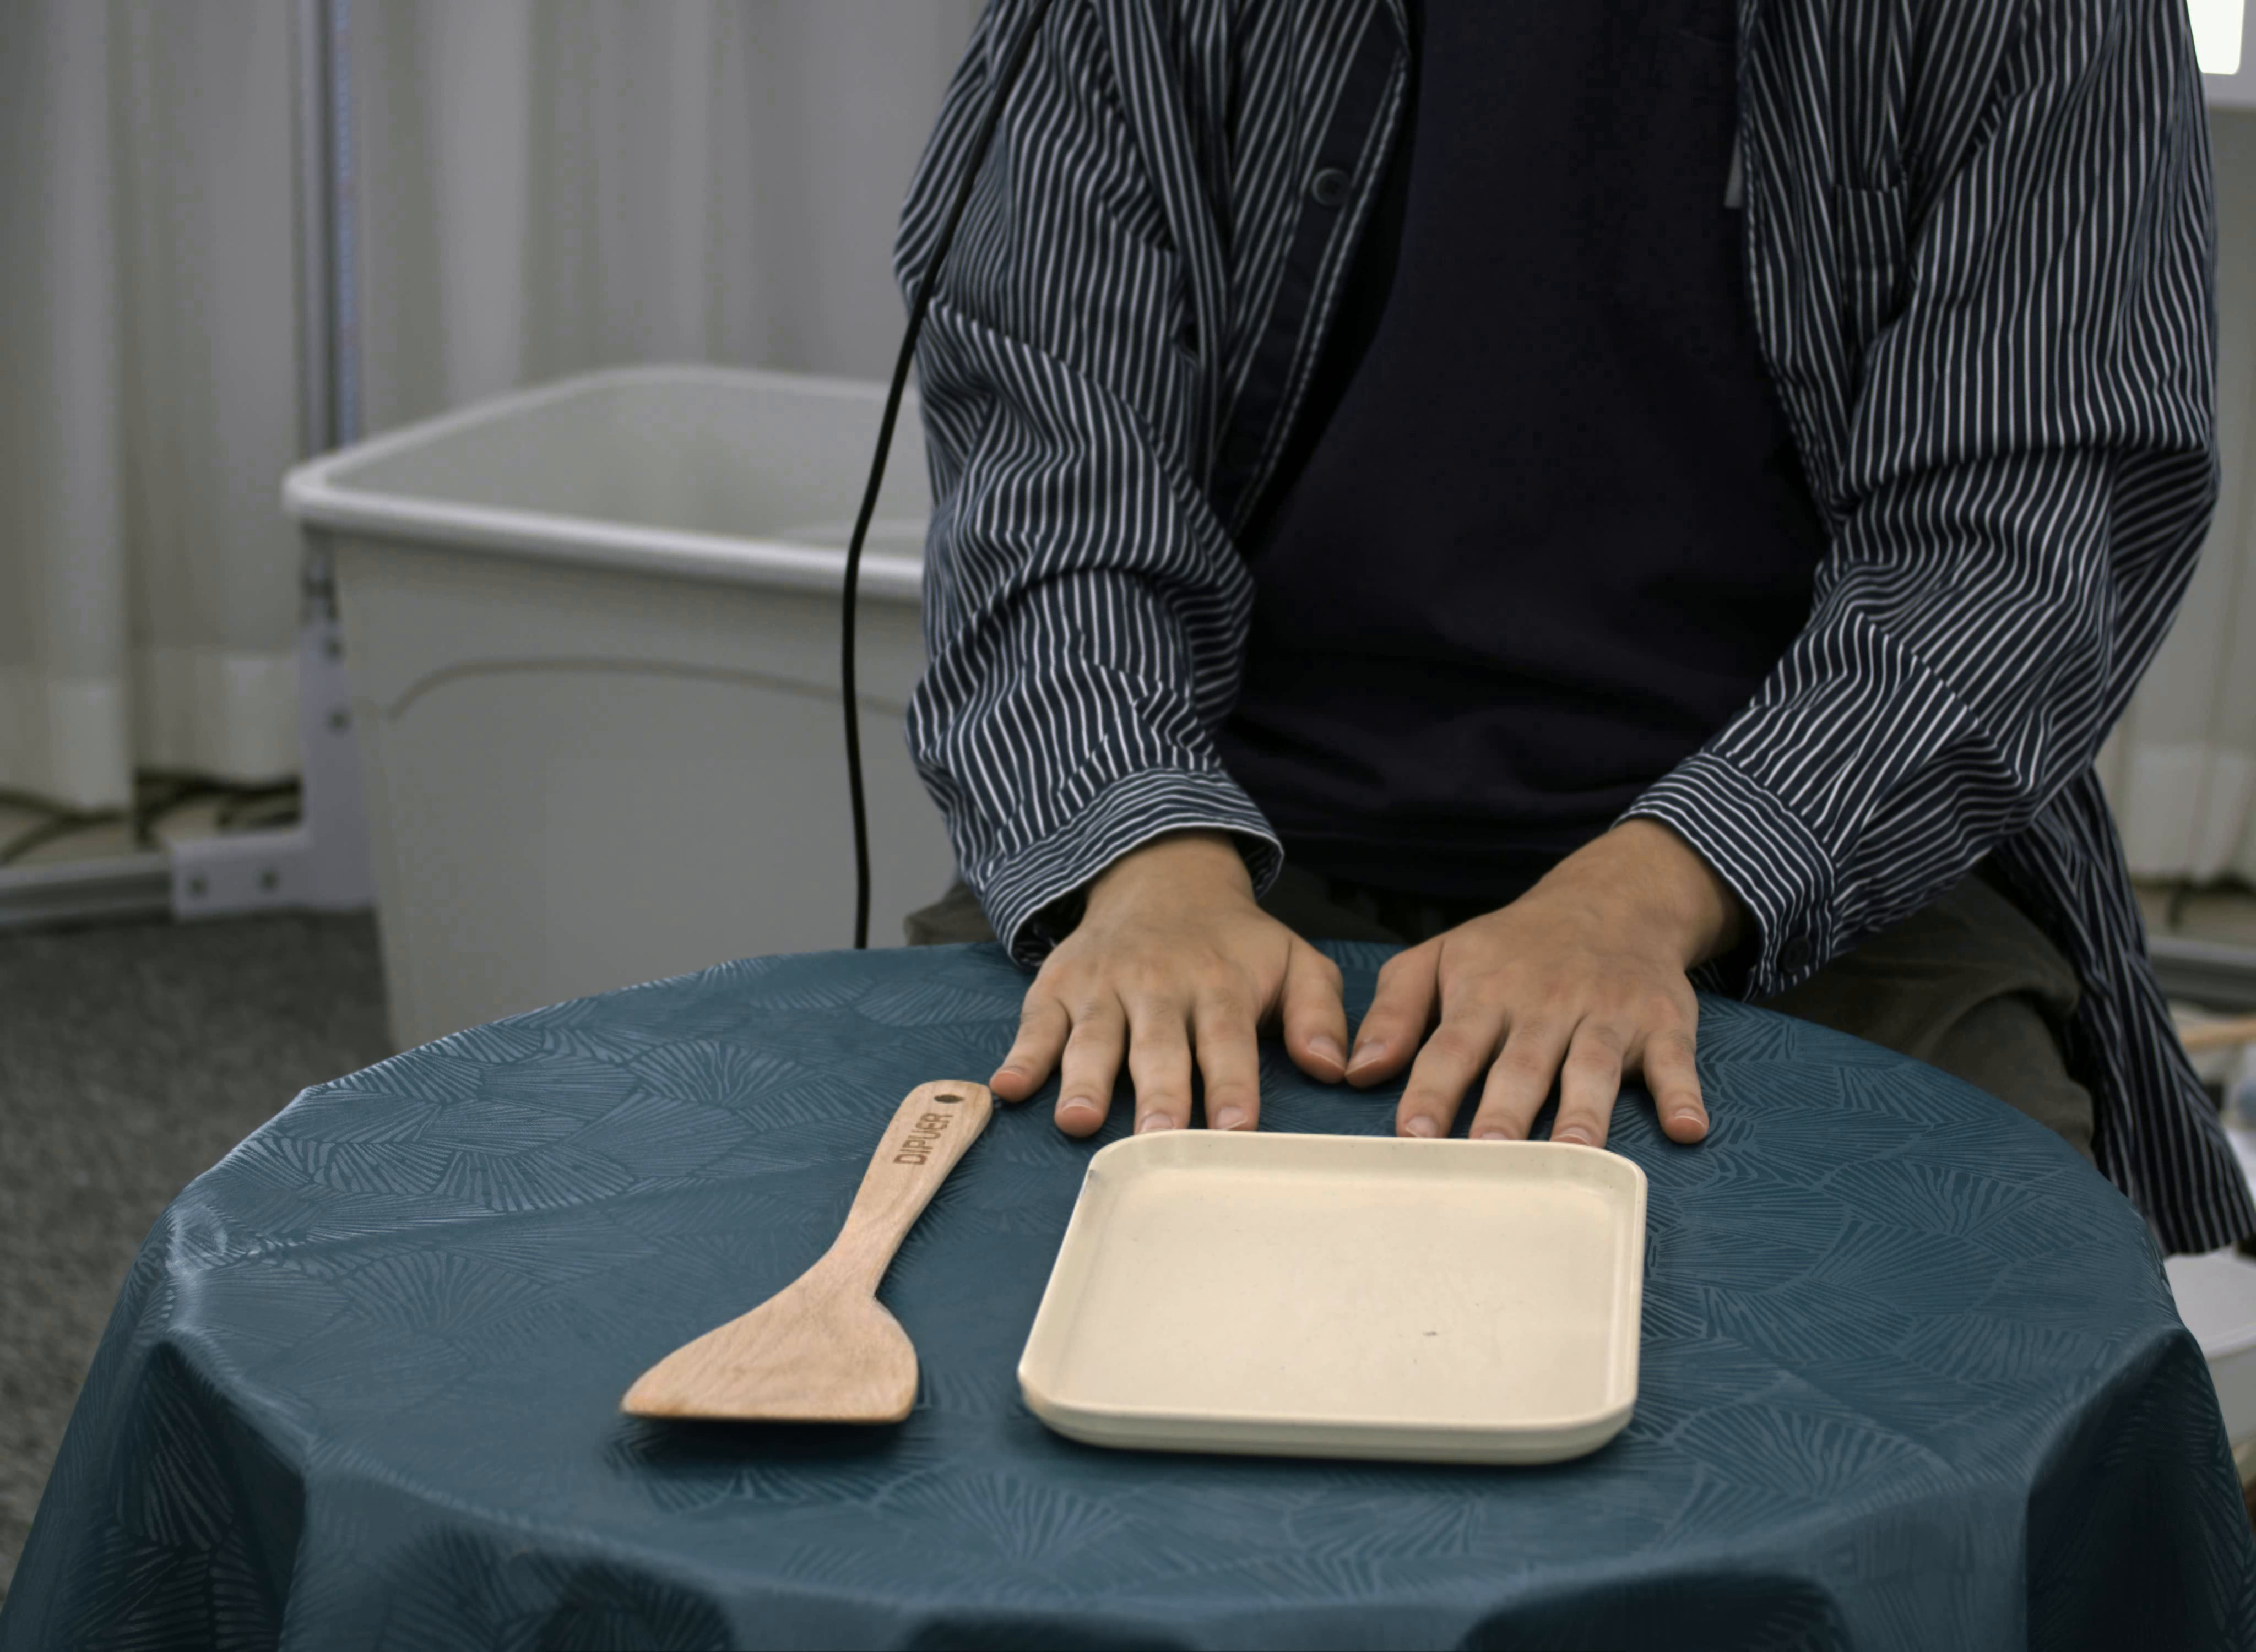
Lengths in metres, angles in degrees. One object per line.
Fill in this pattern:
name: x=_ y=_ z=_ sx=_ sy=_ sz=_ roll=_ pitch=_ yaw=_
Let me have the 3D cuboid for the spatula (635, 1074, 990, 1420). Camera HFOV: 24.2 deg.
spatula: x=-0.075 y=0.122 z=1.562 sx=0.079 sy=0.016 sz=0.326 roll=3 pitch=16 yaw=7

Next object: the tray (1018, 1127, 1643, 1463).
tray: x=0.063 y=0.134 z=1.519 sx=0.170 sy=0.017 sz=0.239 roll=3 pitch=15 yaw=6
